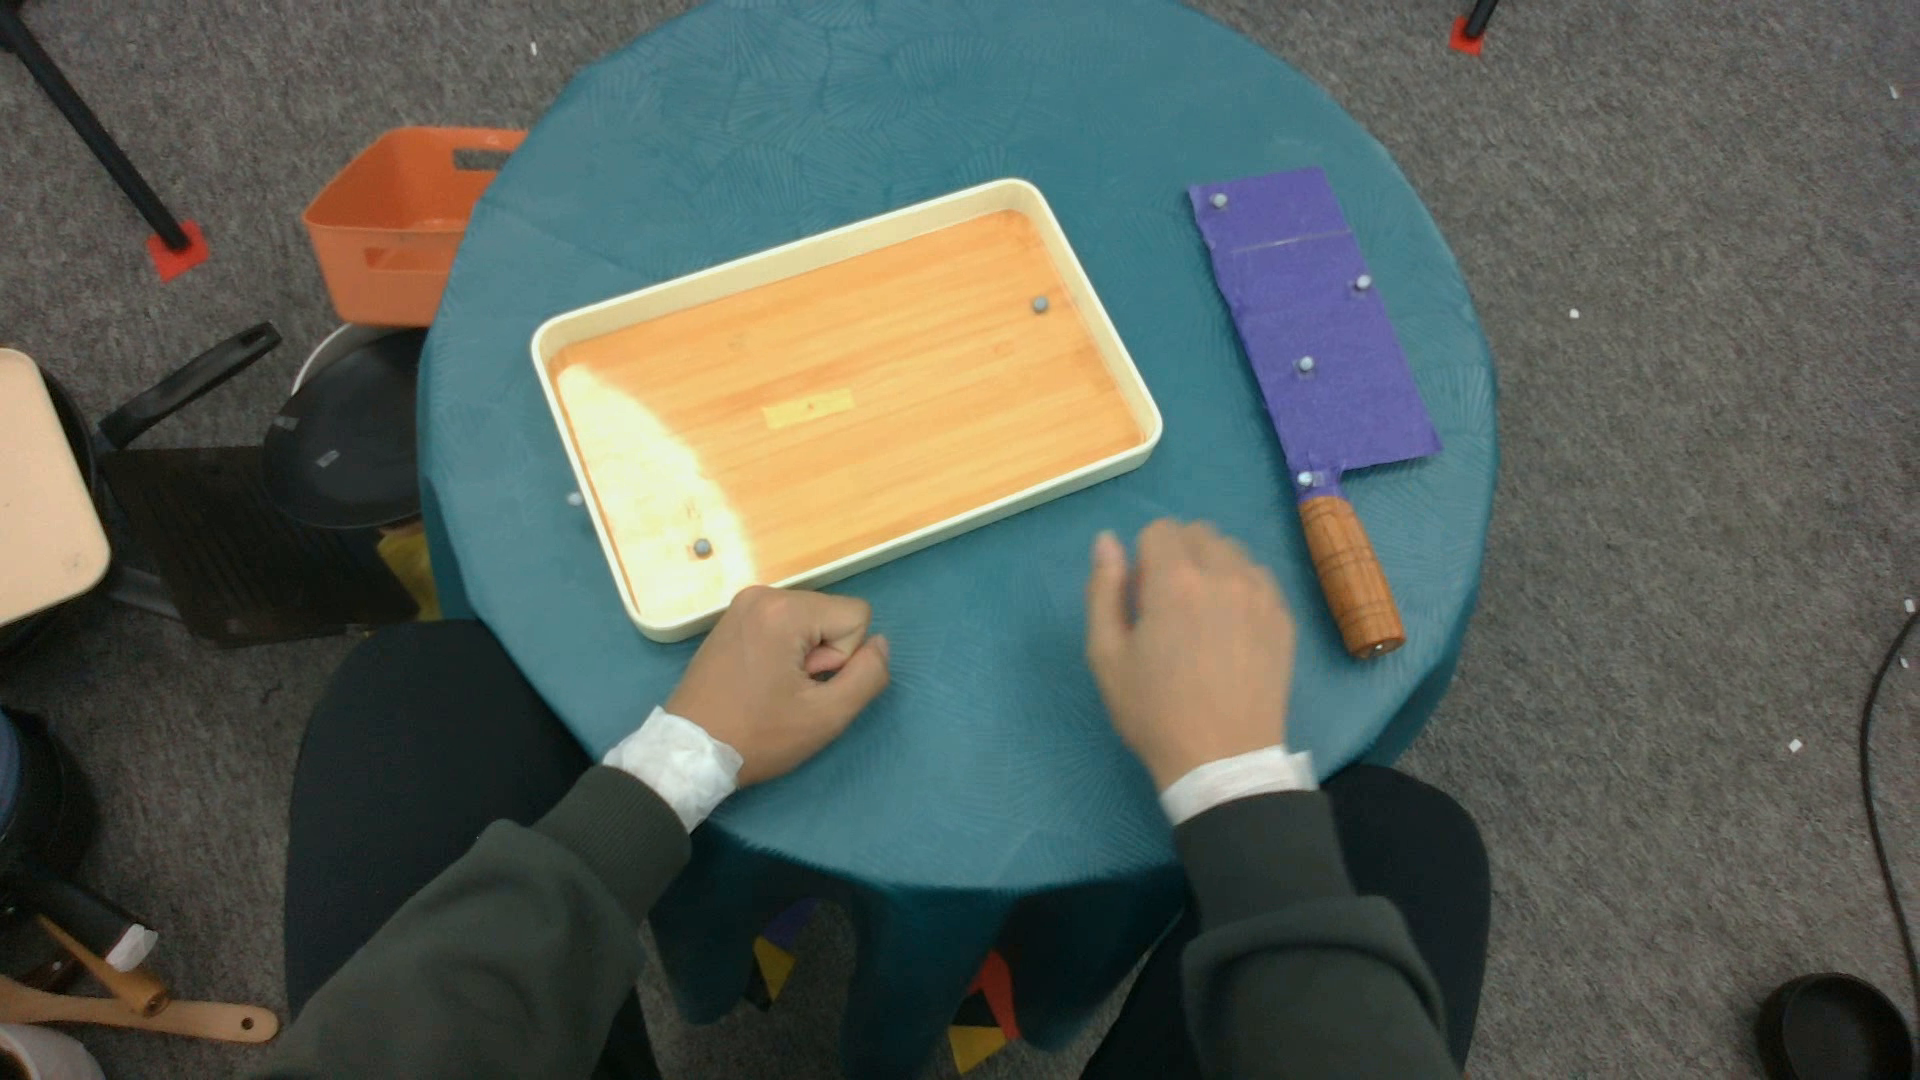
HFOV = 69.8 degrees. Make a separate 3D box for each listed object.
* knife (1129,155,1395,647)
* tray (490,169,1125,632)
[{"bbox_3d":[0.191,-0.095,0.783,0.104,0.032,0.316,-11,68,-11],"label":"knife"},{"bbox_3d":[-0.080,-0.084,0.745,0.301,0.027,0.192,-21,71,-15],"label":"tray"}]
